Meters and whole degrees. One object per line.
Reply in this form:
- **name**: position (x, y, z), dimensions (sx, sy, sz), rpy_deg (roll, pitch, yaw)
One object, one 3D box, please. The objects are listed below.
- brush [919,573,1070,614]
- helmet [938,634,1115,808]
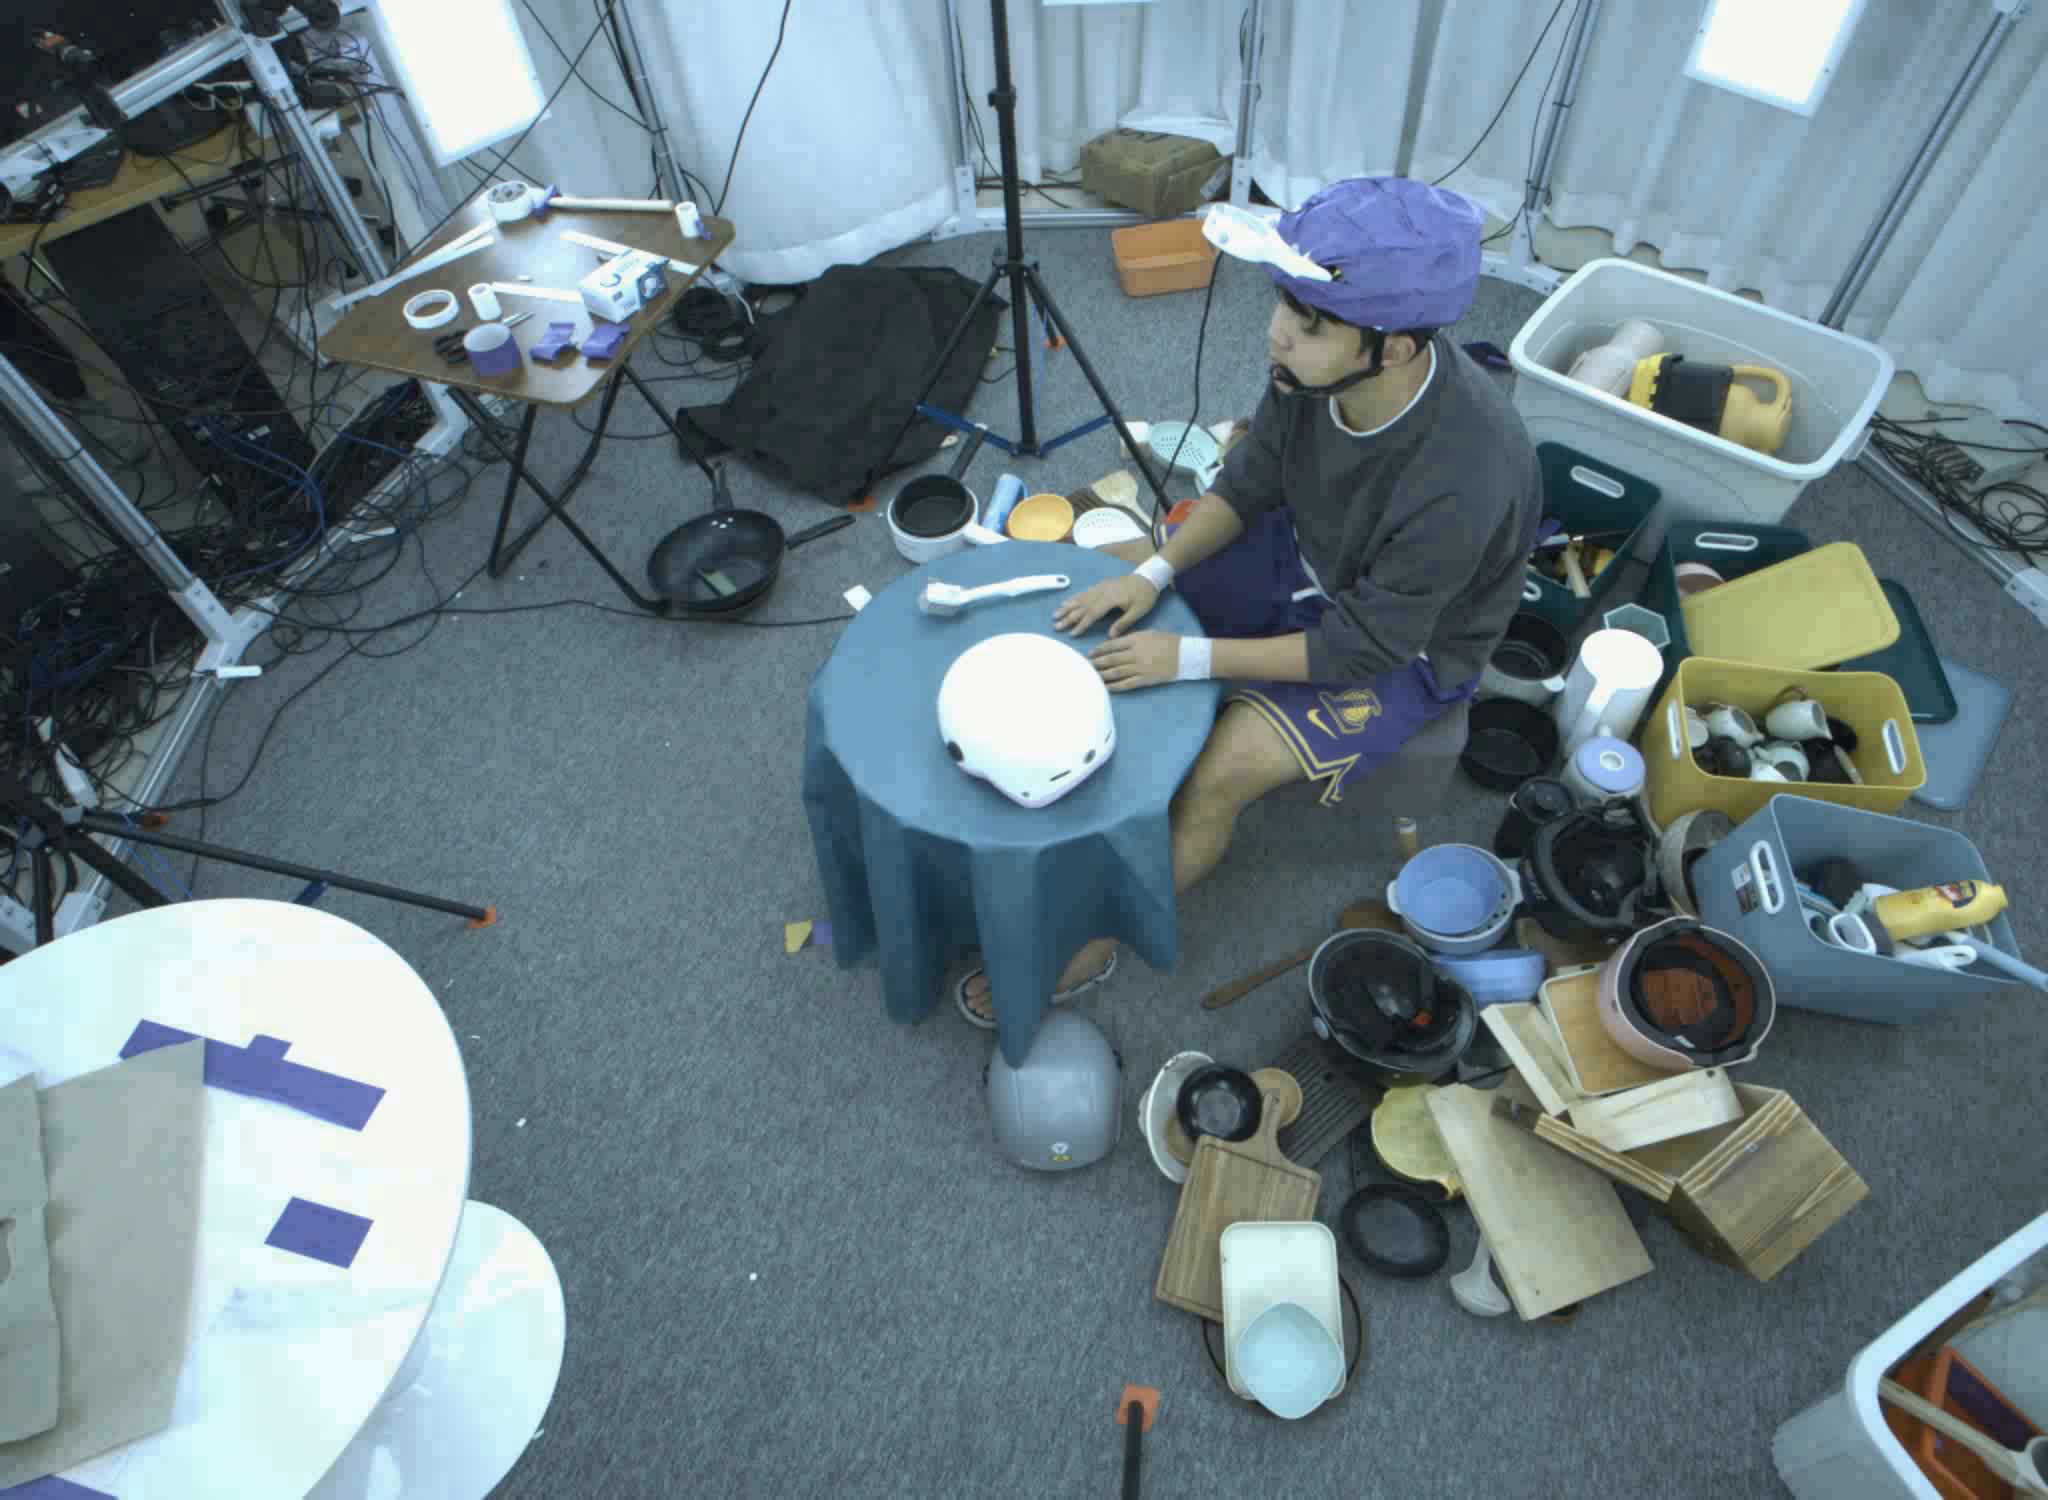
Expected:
- **brush**: position (-0.047, -0.250, 1.954), dimensions (0.247, 0.050, 0.034), rpy_deg (-8, 57, -20)
- **helmet**: position (-0.003, -0.067, 1.737), dimensions (0.239, 0.169, 0.264), rpy_deg (-39, 61, -22)
